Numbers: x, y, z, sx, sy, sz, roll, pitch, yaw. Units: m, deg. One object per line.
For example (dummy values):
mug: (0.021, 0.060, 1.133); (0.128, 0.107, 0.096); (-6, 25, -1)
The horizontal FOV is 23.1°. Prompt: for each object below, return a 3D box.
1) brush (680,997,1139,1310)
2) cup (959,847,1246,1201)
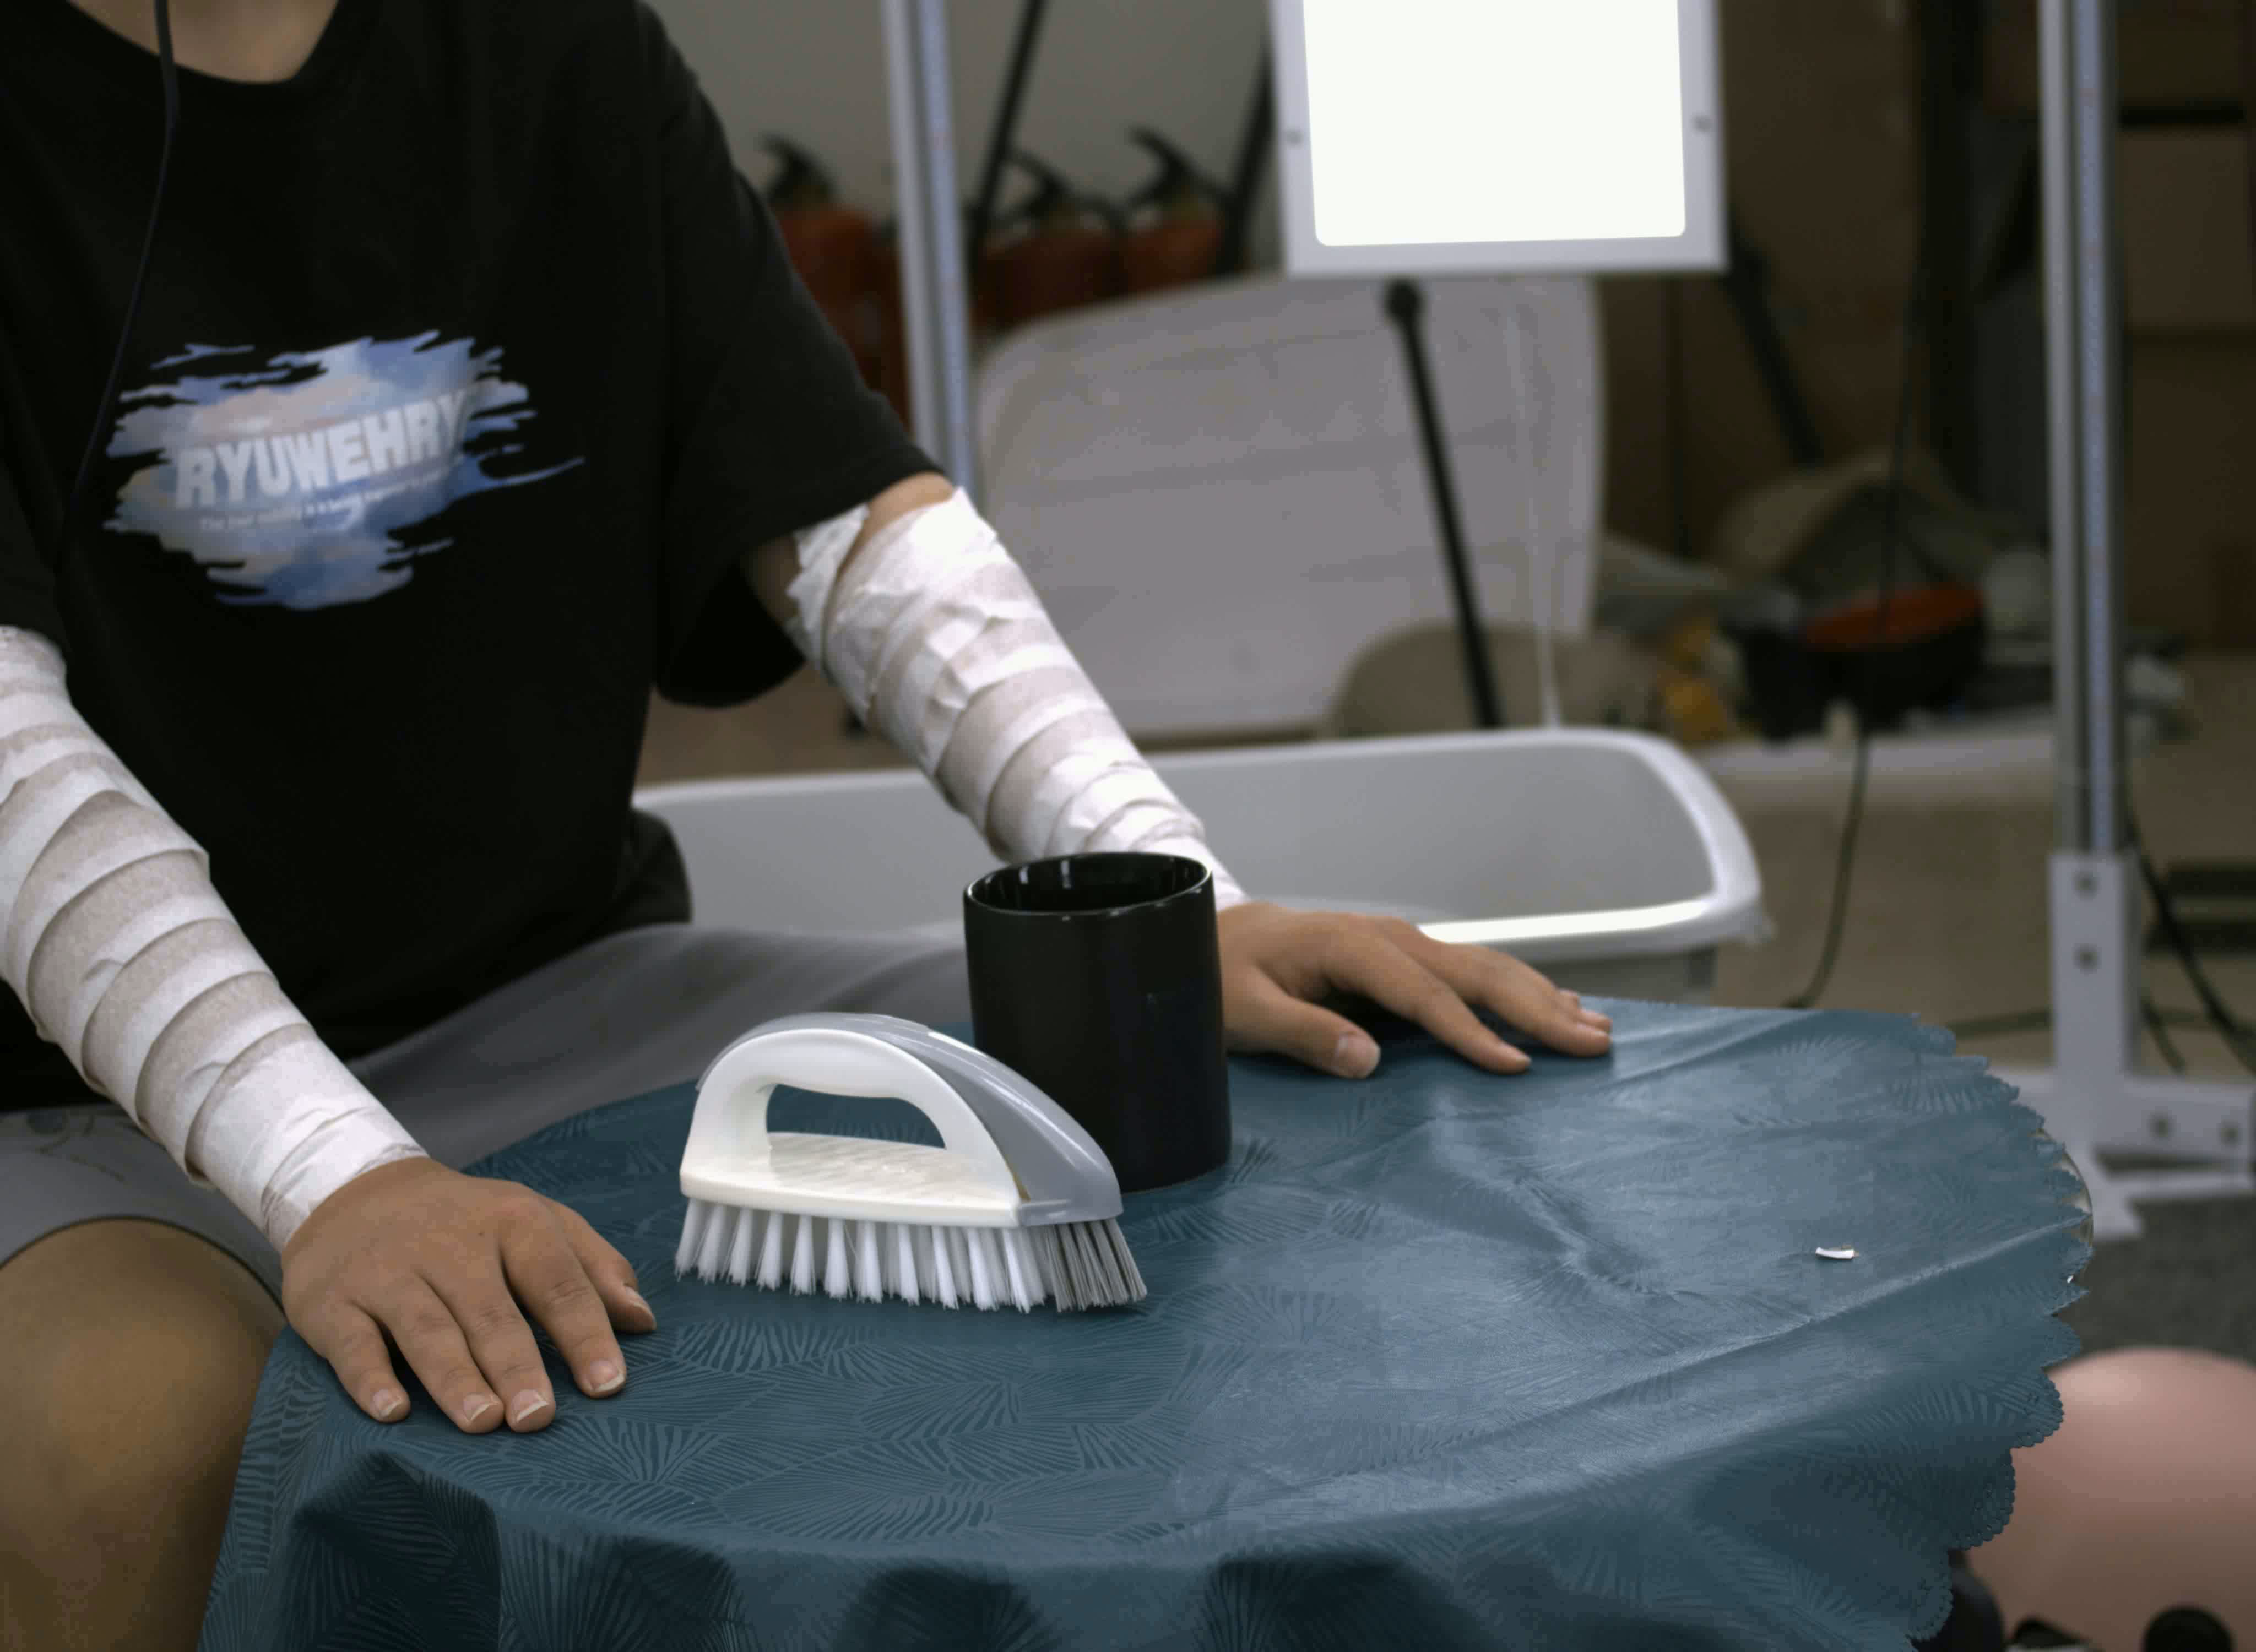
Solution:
brush: (-0.071, 0.106, 1.817); (0.179, 0.094, 0.060); (8, 20, 36)
cup: (-0.013, 0.066, 1.941); (0.087, 0.105, 0.125); (-13, 14, -13)
